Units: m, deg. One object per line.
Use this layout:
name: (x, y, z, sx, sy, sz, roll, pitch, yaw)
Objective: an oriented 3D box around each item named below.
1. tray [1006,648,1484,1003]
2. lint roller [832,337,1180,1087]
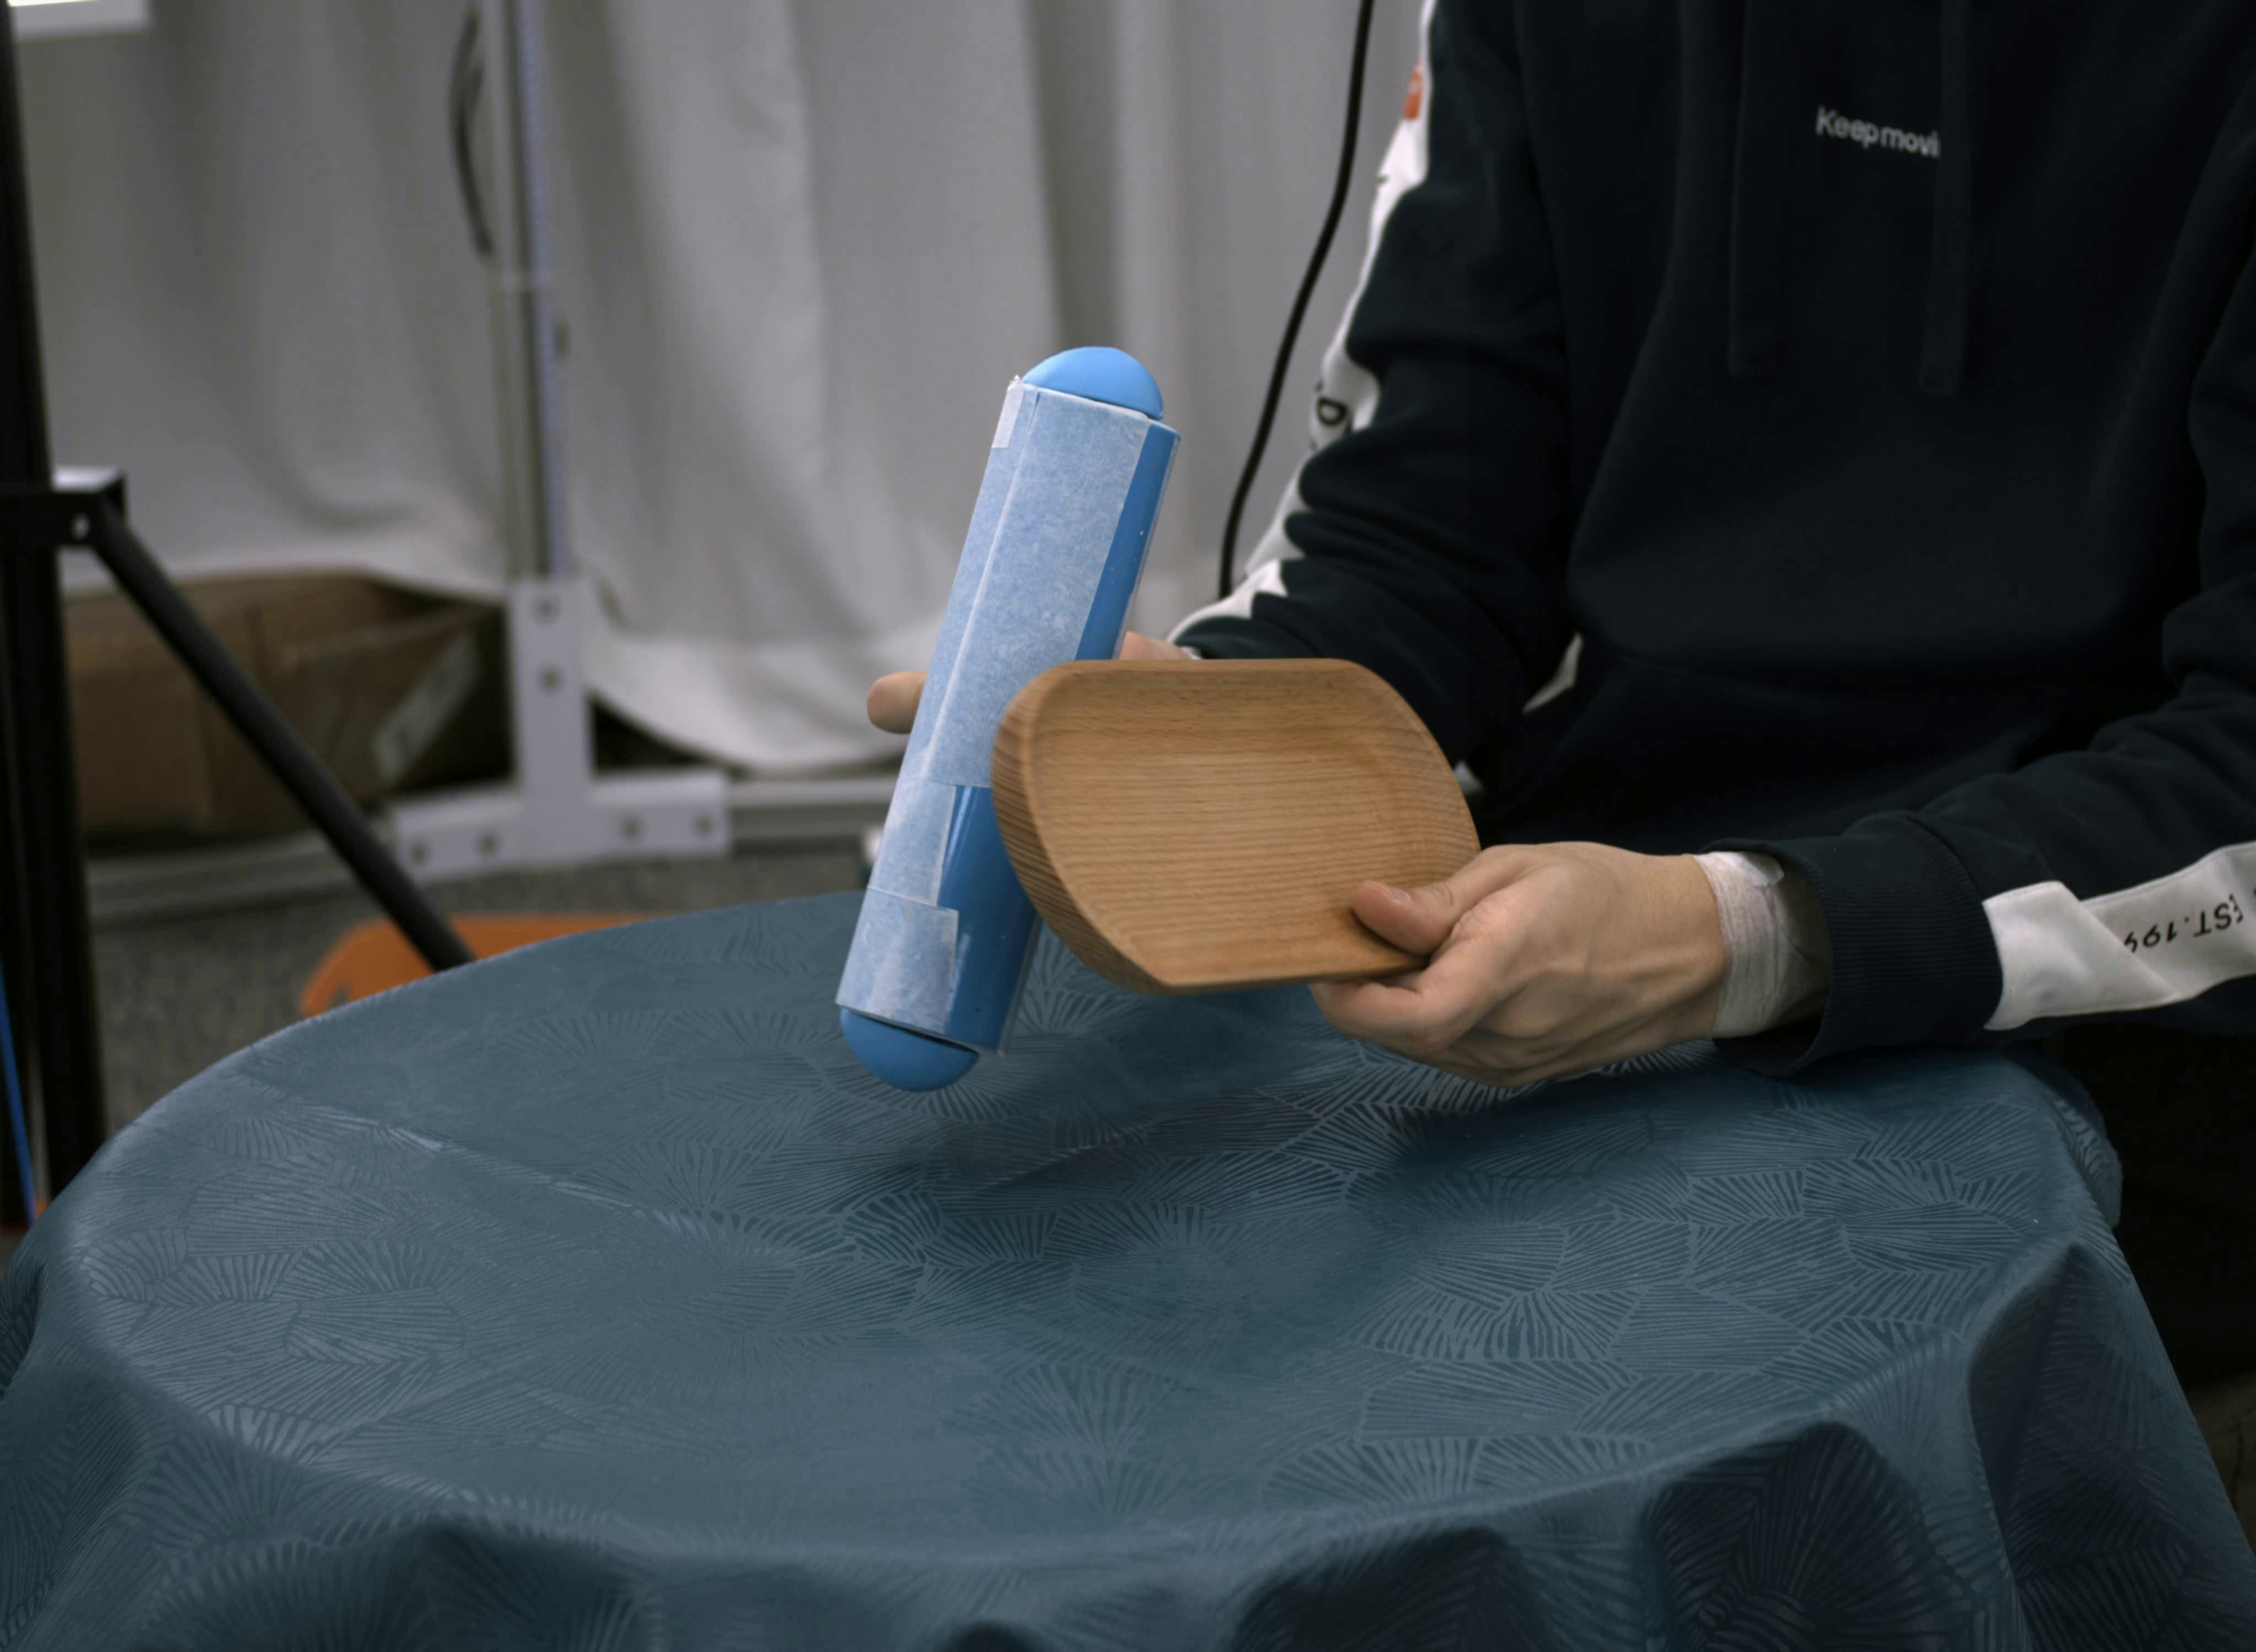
tray: (0.037, -0.001, 1.545, 0.020, 0.102, 0.226, -25, -11, 31)
lint roller: (-0.022, -0.025, 1.636, 0.068, 0.230, 0.177, 15, -5, 16)
